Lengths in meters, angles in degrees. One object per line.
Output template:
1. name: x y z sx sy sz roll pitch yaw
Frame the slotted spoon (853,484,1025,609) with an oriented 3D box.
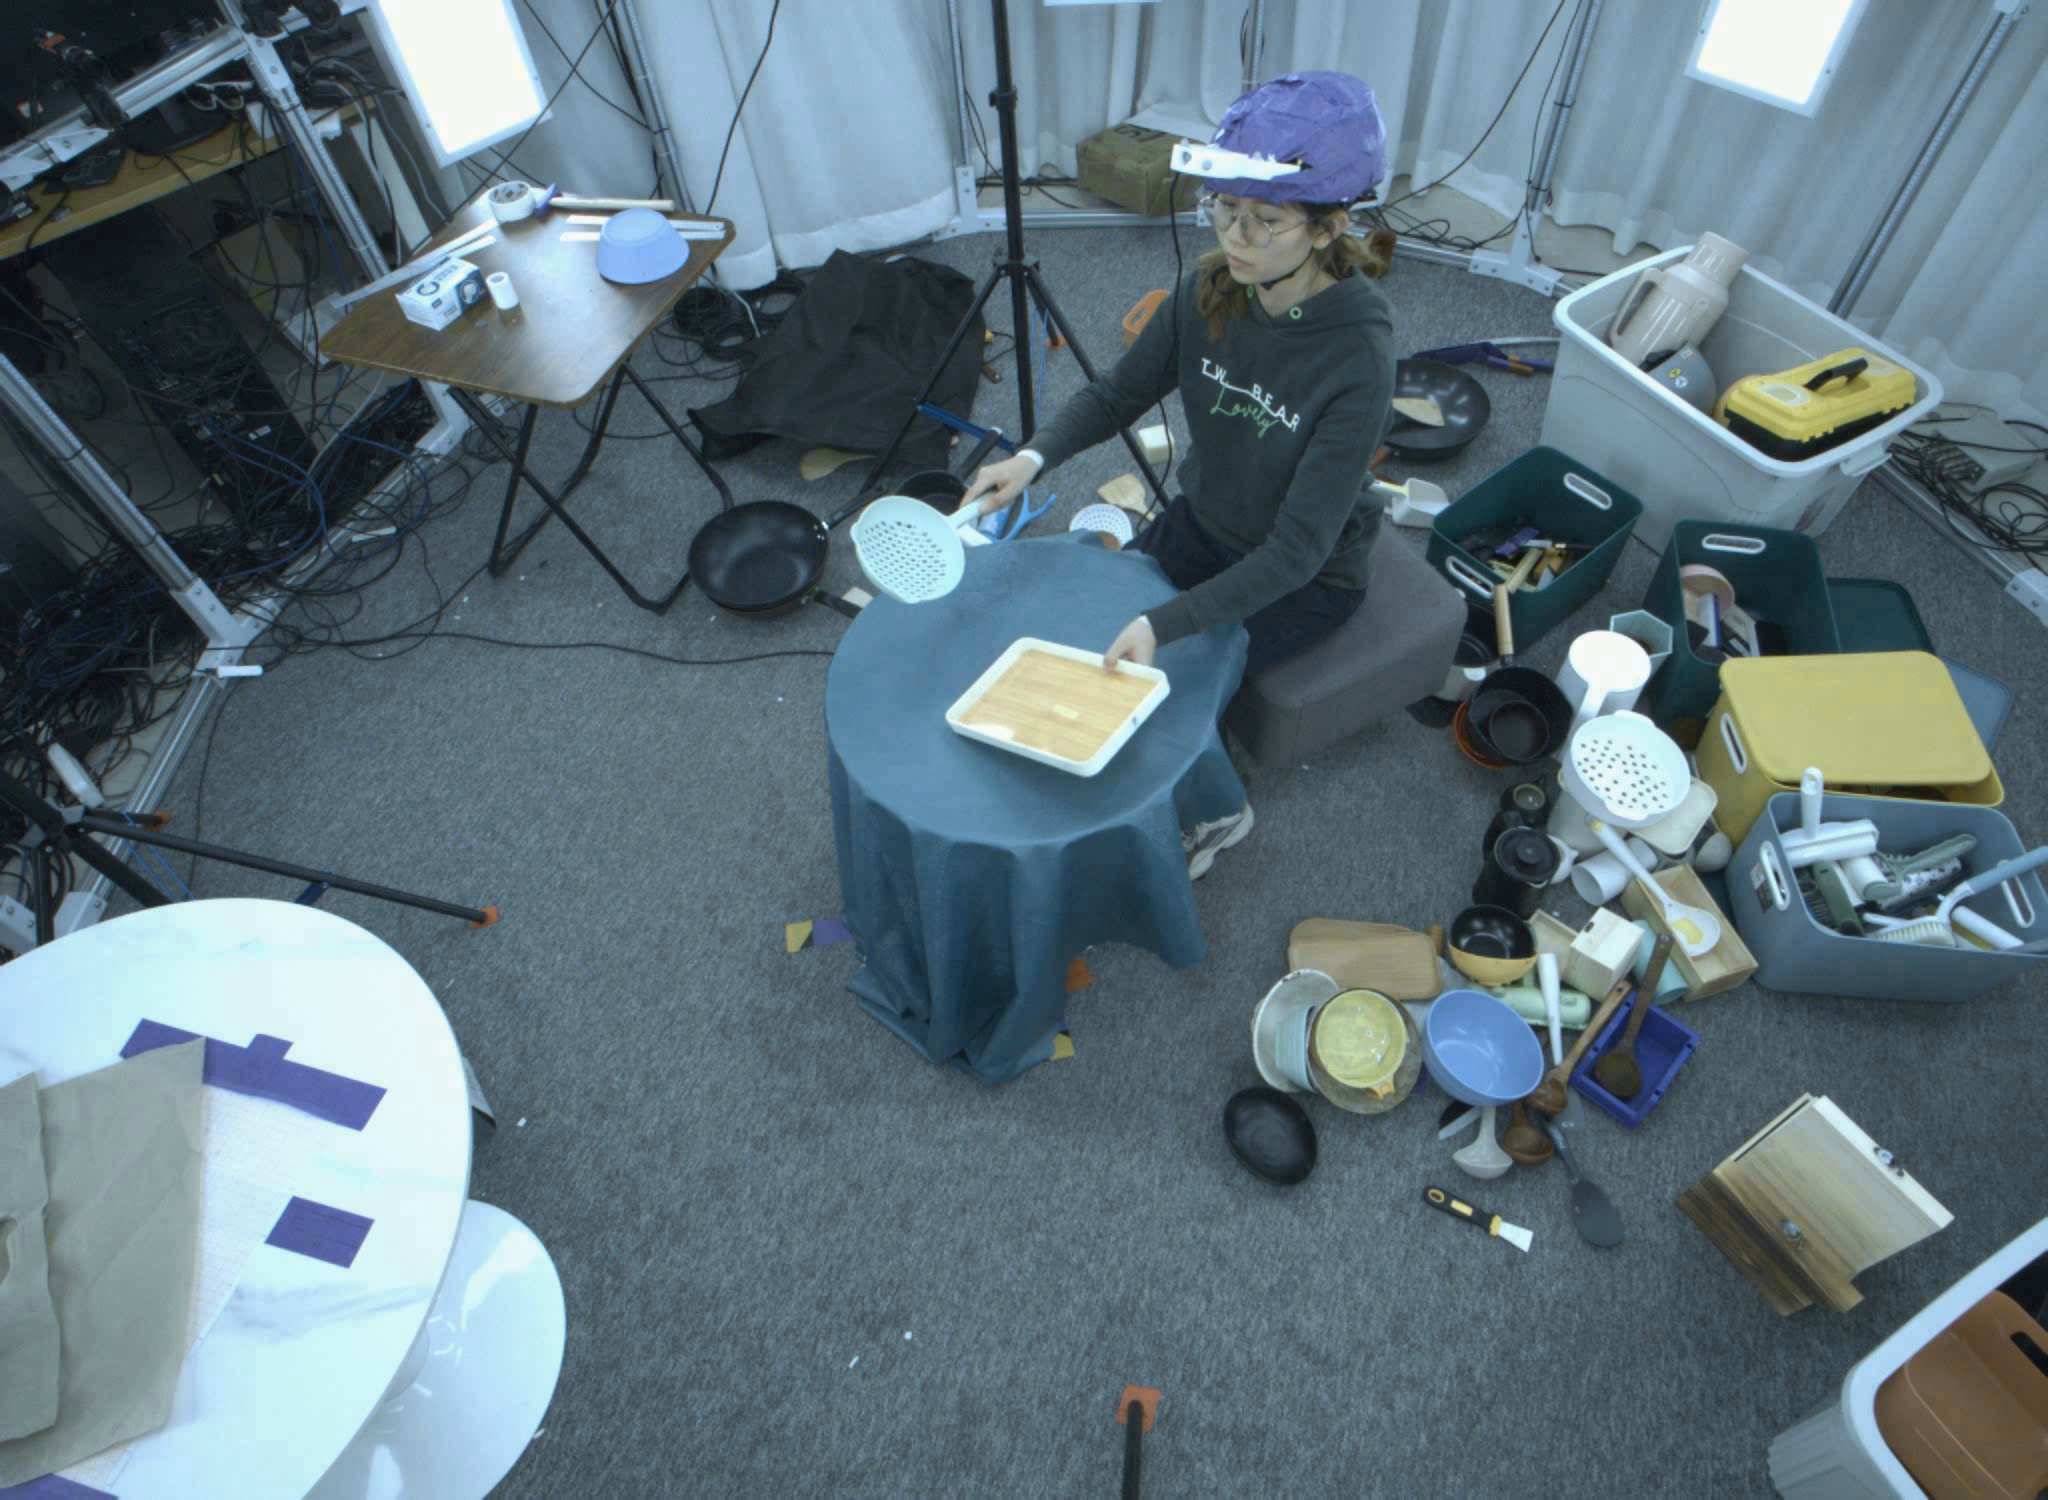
1. slotted spoon: -0.108 -0.330 1.824 0.362 0.074 0.170 -41 95 -31

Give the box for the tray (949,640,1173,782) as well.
1. tray: 0.047 -0.061 1.750 0.293 0.028 0.192 20 59 42
